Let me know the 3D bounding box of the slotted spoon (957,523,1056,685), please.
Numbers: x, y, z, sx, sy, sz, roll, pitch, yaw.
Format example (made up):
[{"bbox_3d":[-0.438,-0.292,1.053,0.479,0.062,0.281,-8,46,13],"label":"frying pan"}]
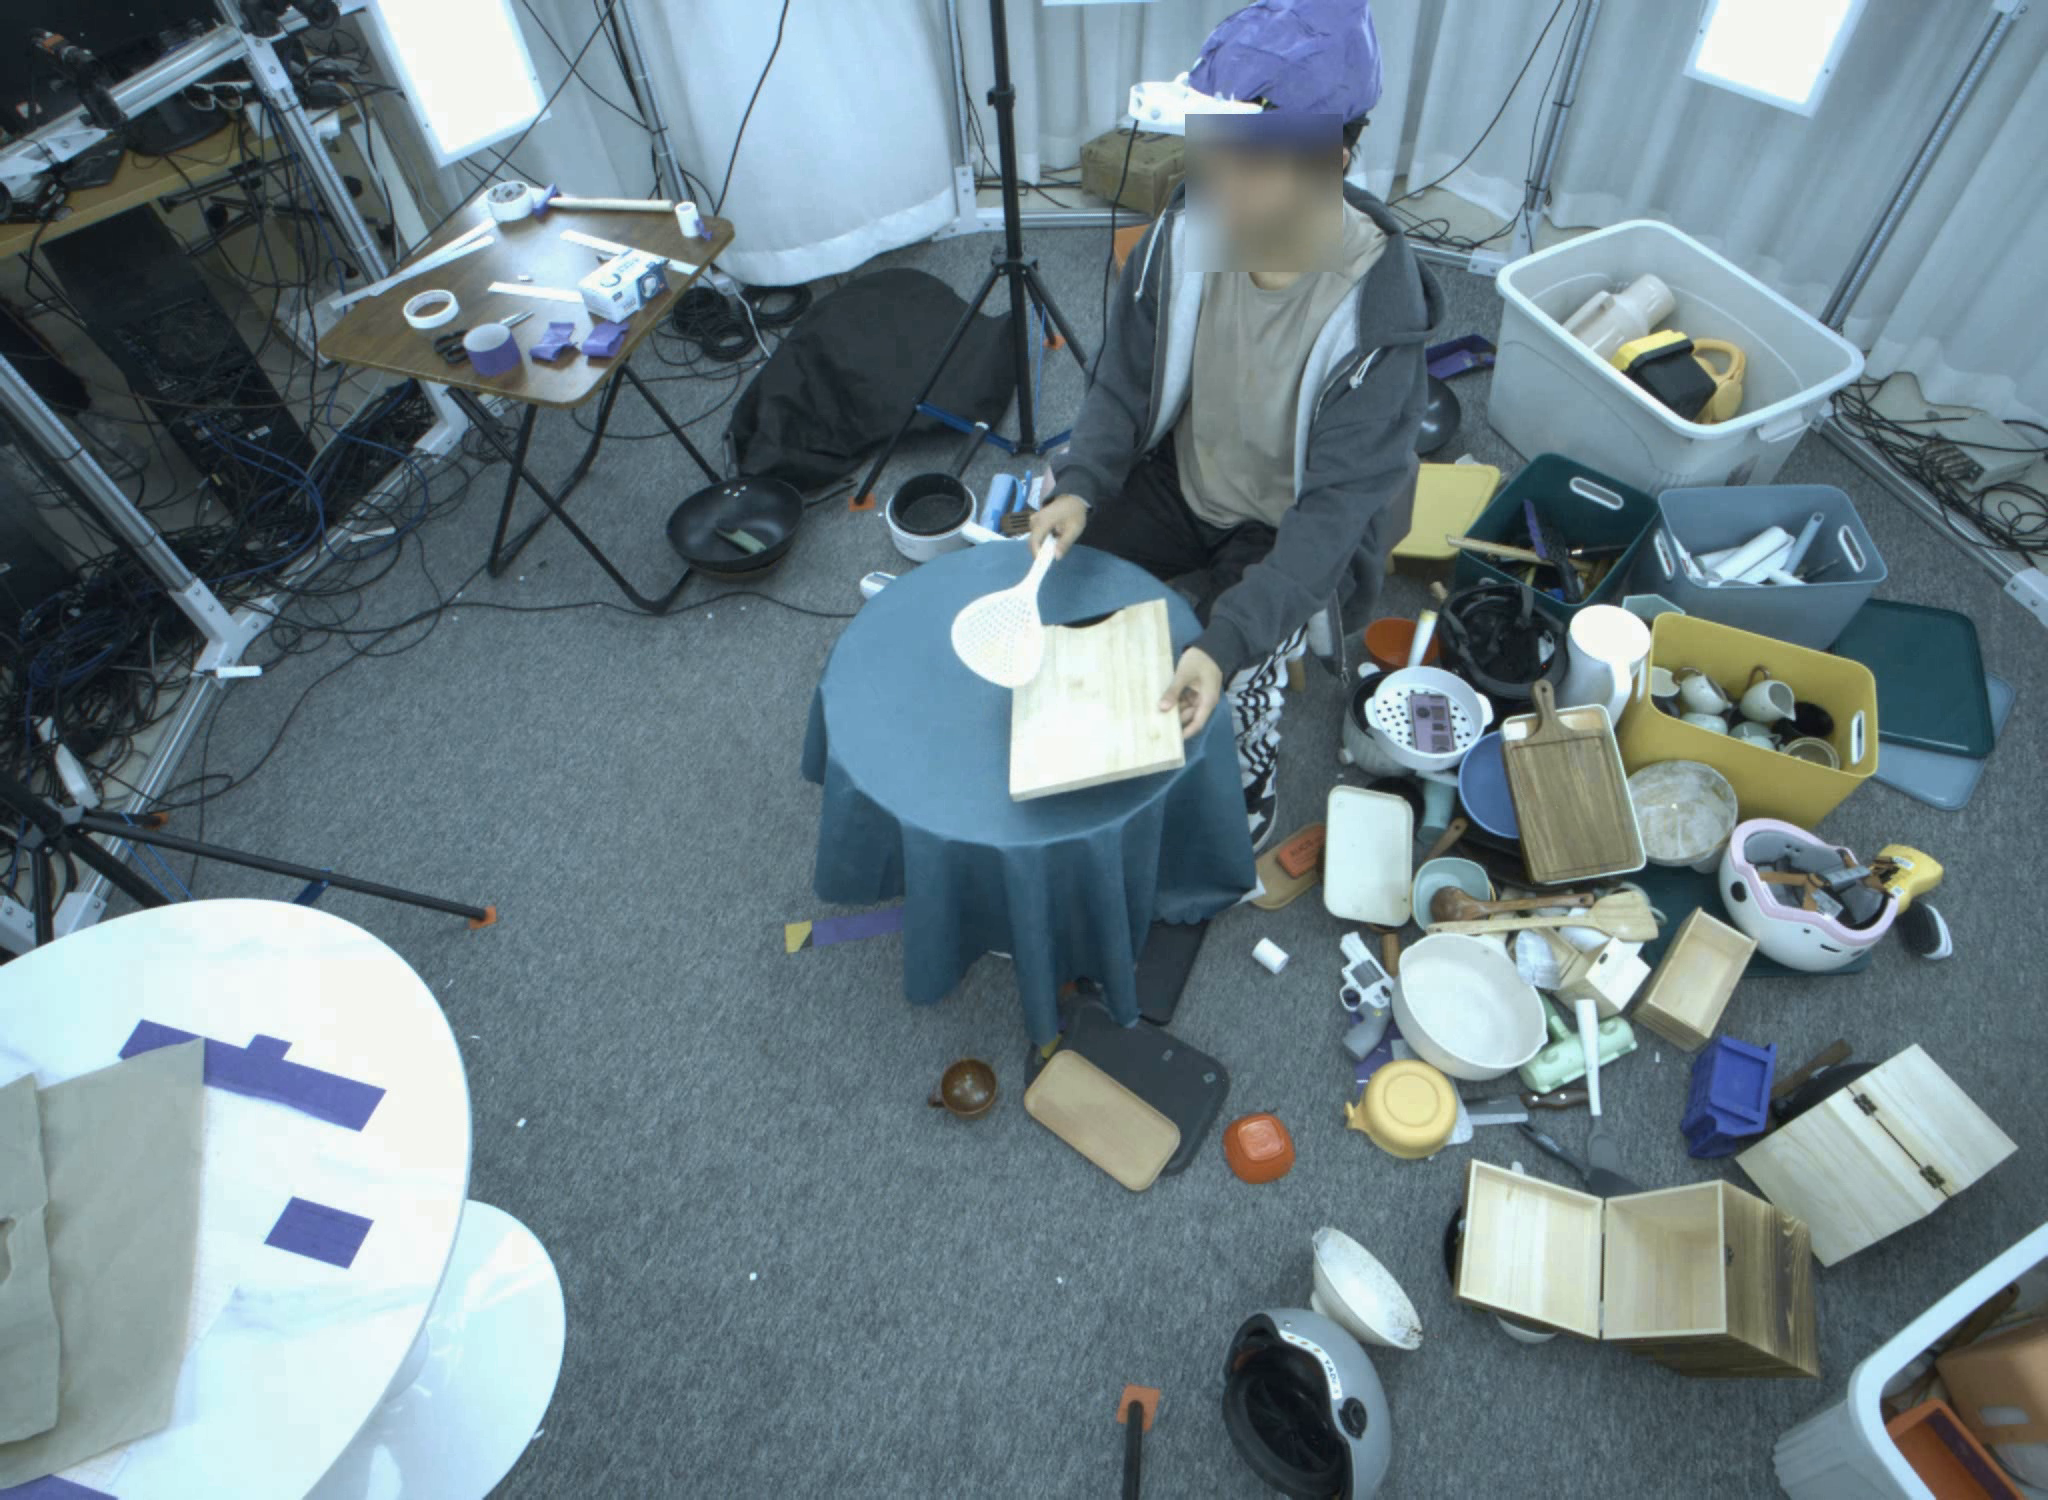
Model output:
[{"bbox_3d":[0.000,-0.227,1.810,0.138,0.050,0.347,31,56,-10],"label":"slotted spoon"}]

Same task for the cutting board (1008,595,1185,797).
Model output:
[{"bbox_3d":[0.100,-0.082,1.768,0.249,0.024,0.344,-12,44,11],"label":"cutting board"}]
